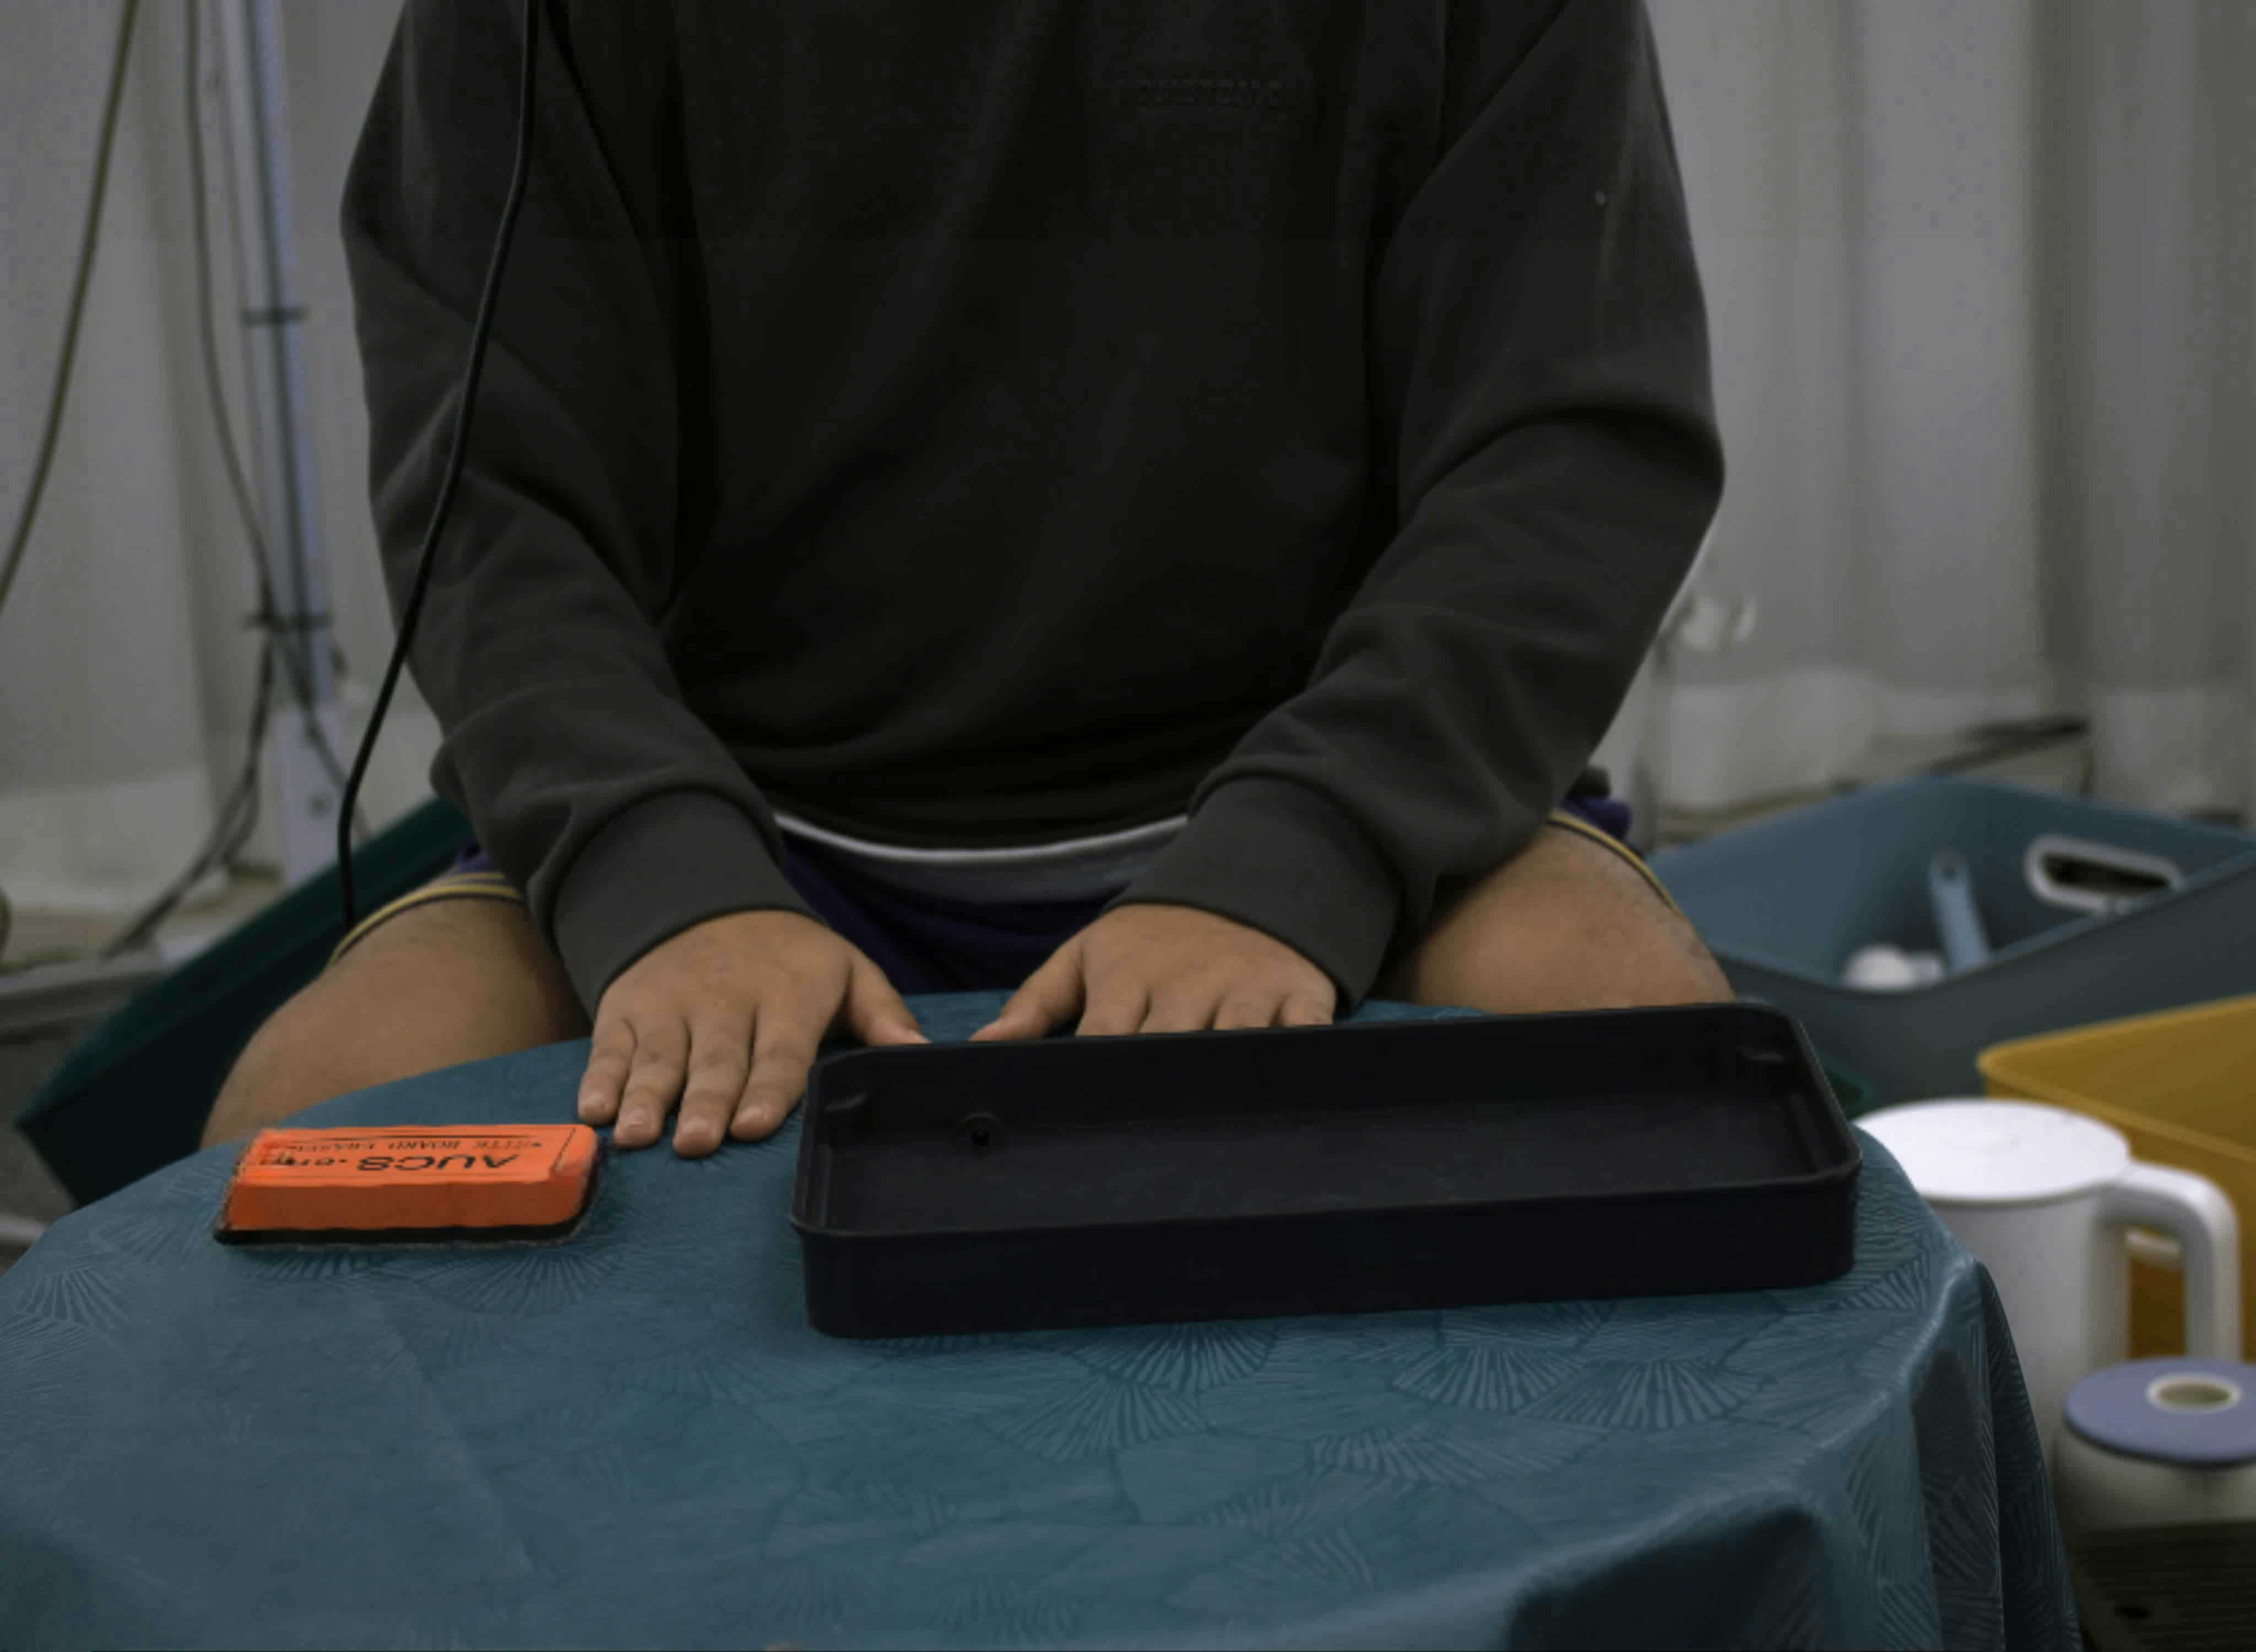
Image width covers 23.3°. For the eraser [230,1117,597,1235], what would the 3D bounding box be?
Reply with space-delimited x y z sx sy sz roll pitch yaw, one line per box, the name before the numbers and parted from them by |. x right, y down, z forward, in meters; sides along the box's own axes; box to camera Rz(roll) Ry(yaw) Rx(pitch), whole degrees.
eraser | -0.223 0.110 1.718 0.108 0.023 0.059 -3 9 6

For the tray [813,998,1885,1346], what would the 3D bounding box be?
tray | 0.063 0.104 1.679 0.317 0.037 0.185 -4 14 -1
